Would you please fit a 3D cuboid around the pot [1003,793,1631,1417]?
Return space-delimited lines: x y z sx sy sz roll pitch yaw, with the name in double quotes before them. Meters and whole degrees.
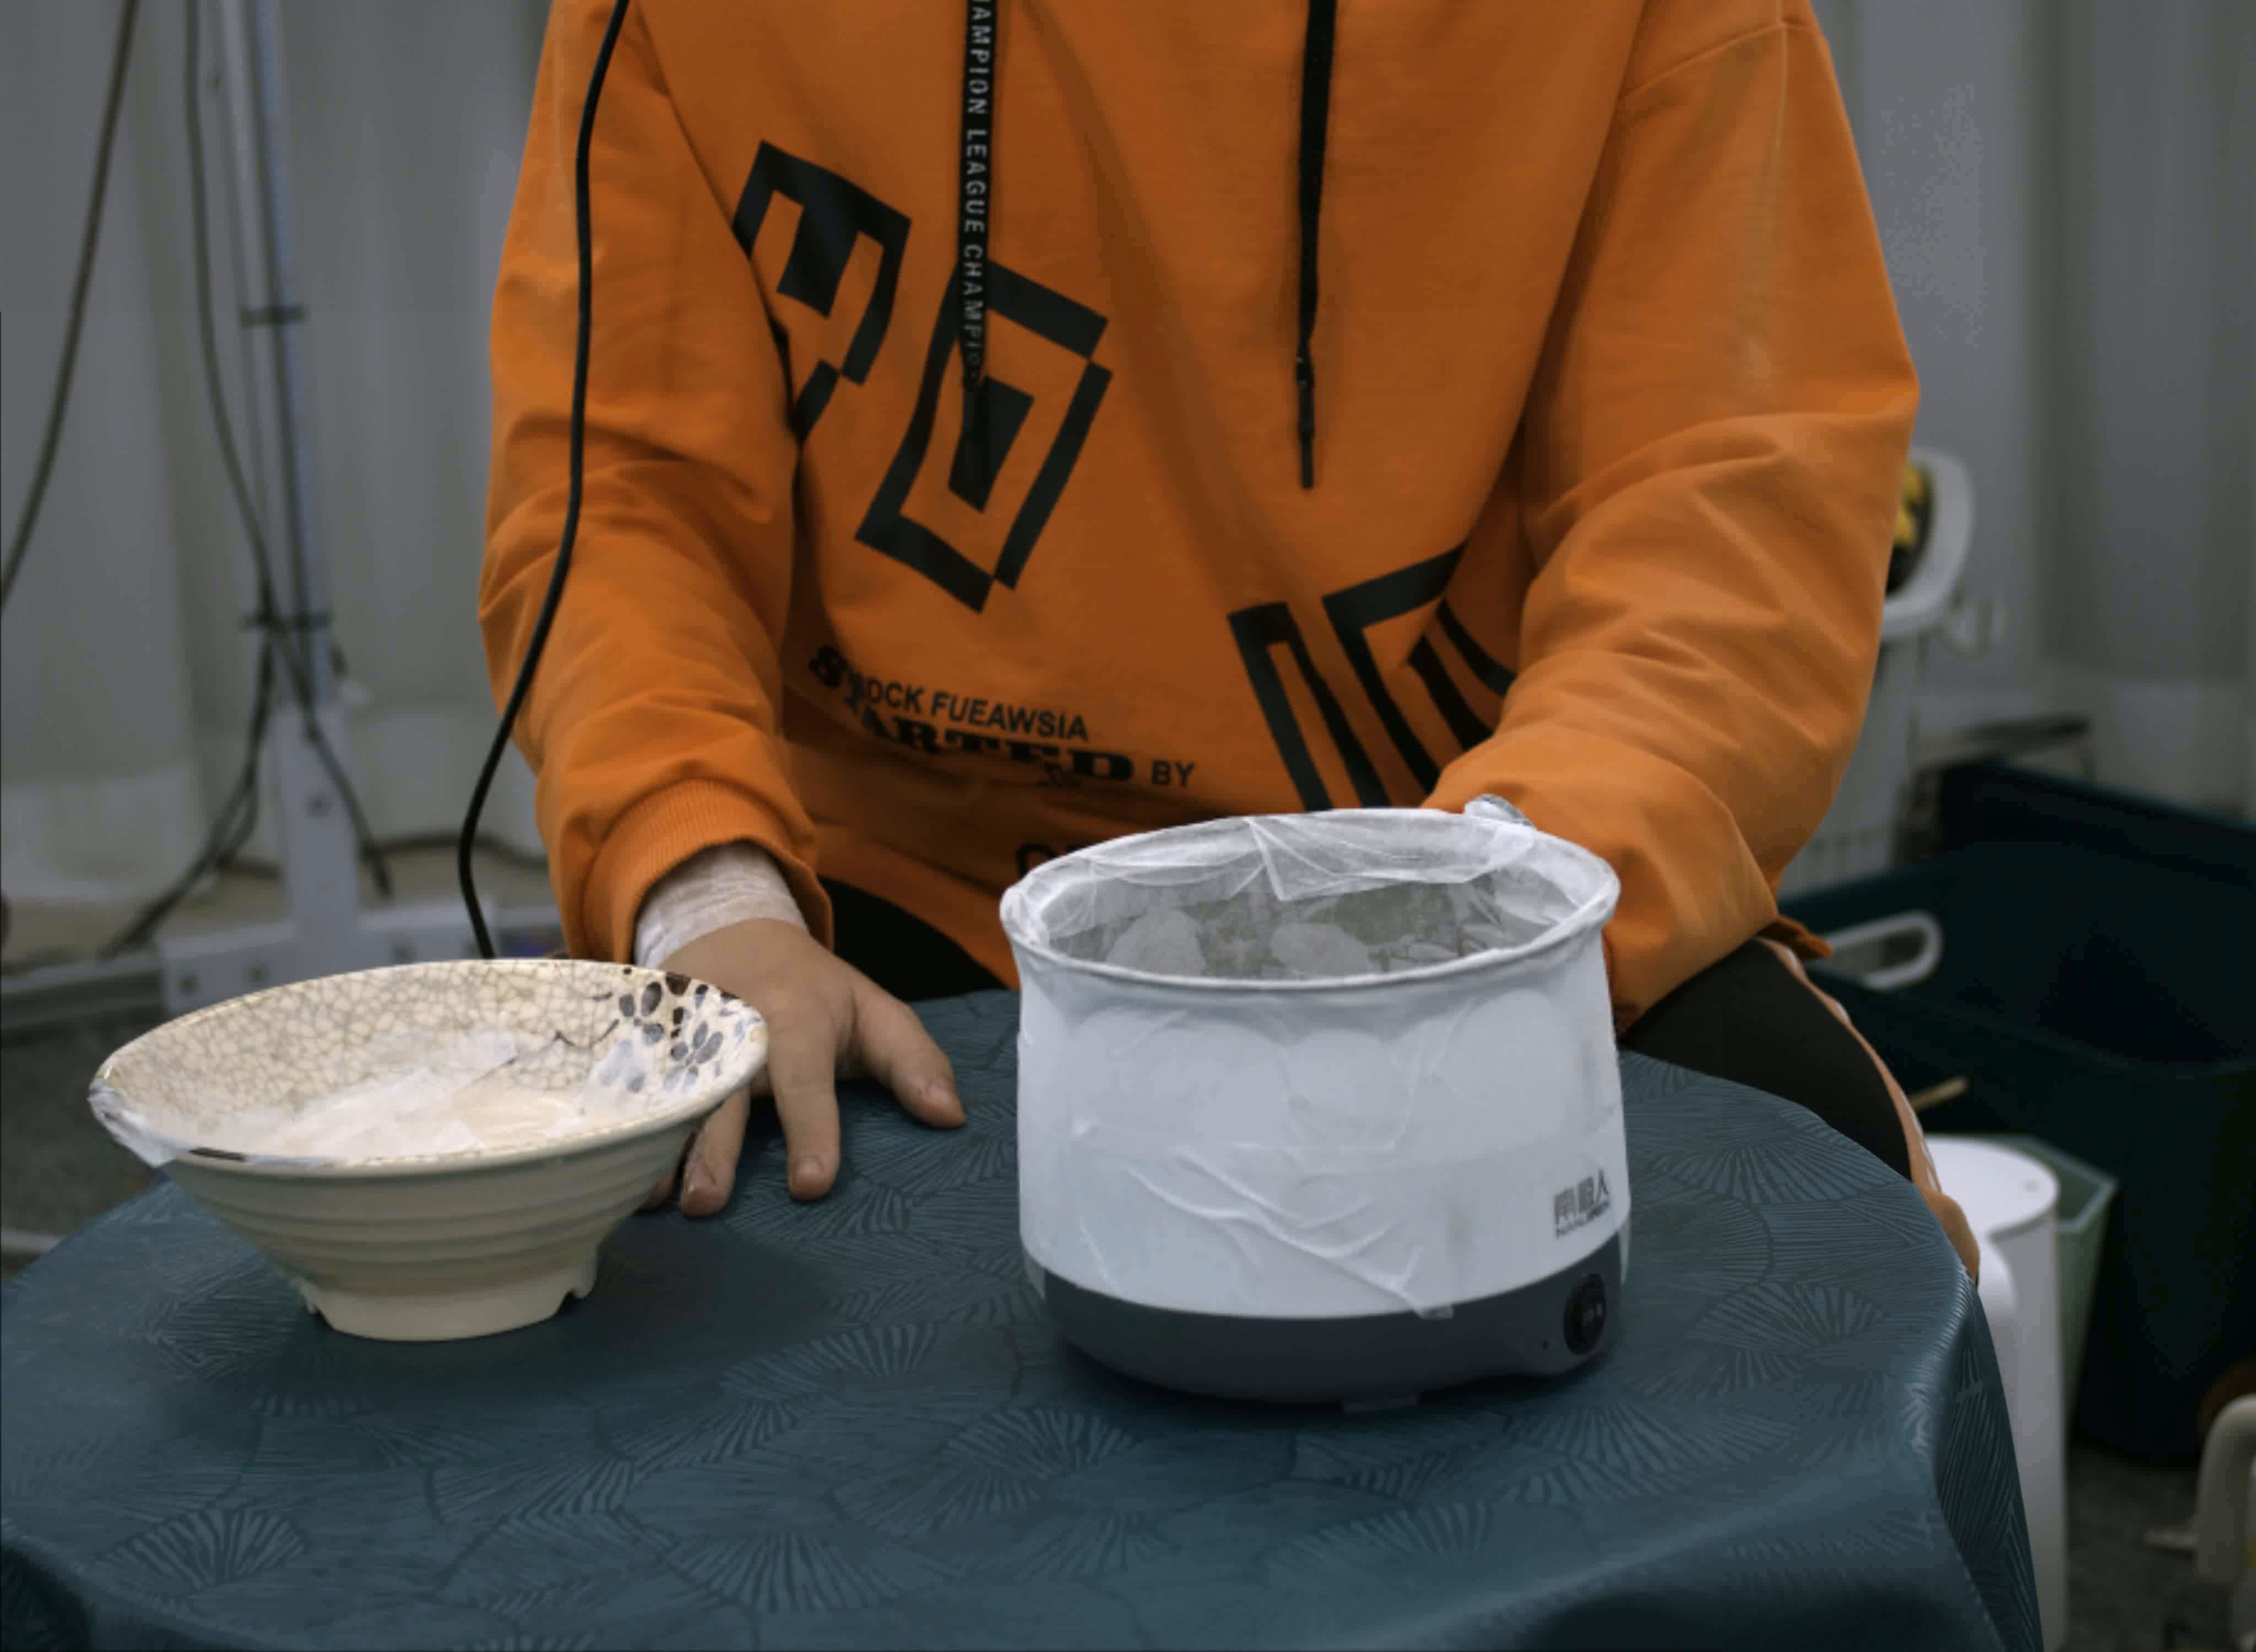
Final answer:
"pot" 0.070 0.074 1.592 0.179 0.136 0.234 7 18 32

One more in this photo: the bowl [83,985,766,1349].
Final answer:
"bowl" -0.209 0.108 1.644 0.203 0.078 0.205 -2 11 0
